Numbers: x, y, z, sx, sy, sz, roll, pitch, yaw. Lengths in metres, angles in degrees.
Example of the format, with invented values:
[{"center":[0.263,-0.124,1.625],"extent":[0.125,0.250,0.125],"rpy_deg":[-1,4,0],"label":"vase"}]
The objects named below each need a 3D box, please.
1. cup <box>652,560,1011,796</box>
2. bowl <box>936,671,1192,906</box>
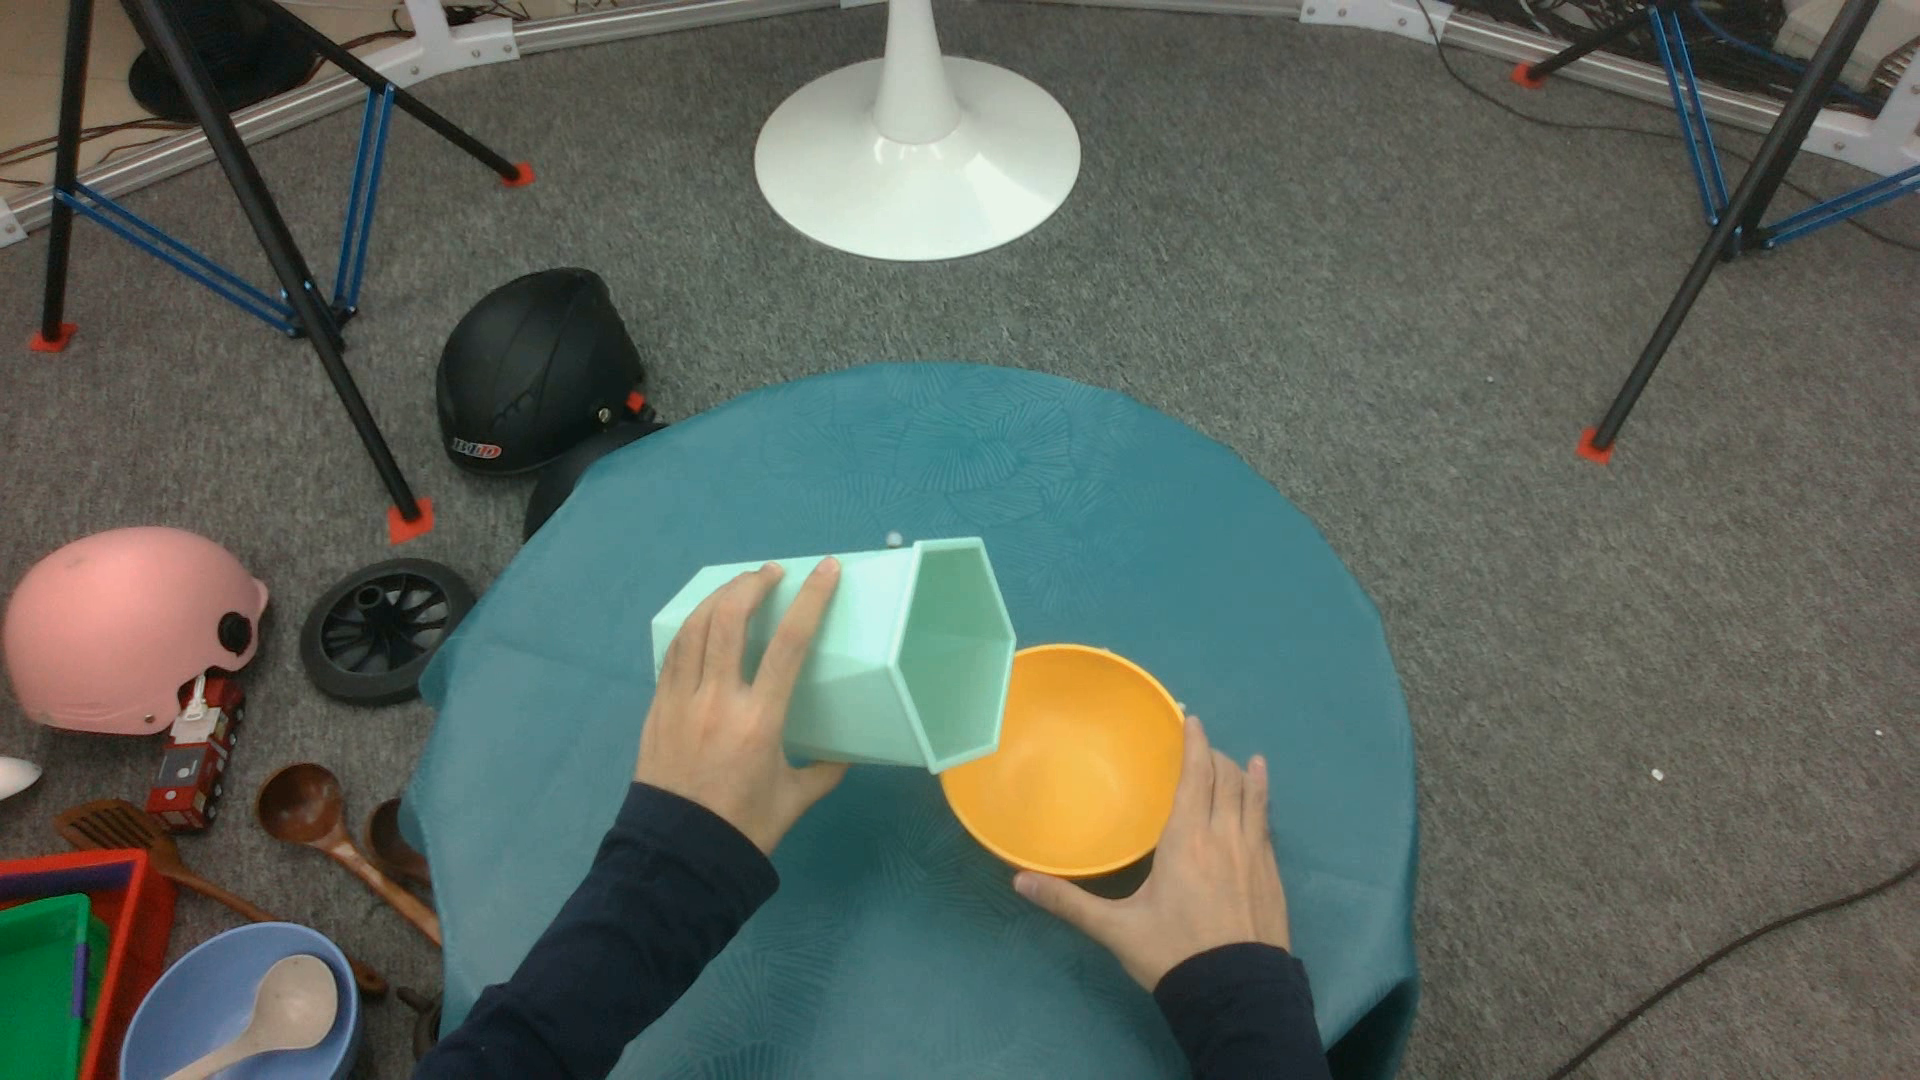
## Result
[{"center":[-0.073,0.074,0.743],"extent":[0.162,0.130,0.116],"rpy_deg":[-5,30,30],"label":"cup"},{"center":[0.060,0.153,0.803],"extent":[0.145,0.060,0.146],"rpy_deg":[-1,54,2],"label":"bowl"}]
